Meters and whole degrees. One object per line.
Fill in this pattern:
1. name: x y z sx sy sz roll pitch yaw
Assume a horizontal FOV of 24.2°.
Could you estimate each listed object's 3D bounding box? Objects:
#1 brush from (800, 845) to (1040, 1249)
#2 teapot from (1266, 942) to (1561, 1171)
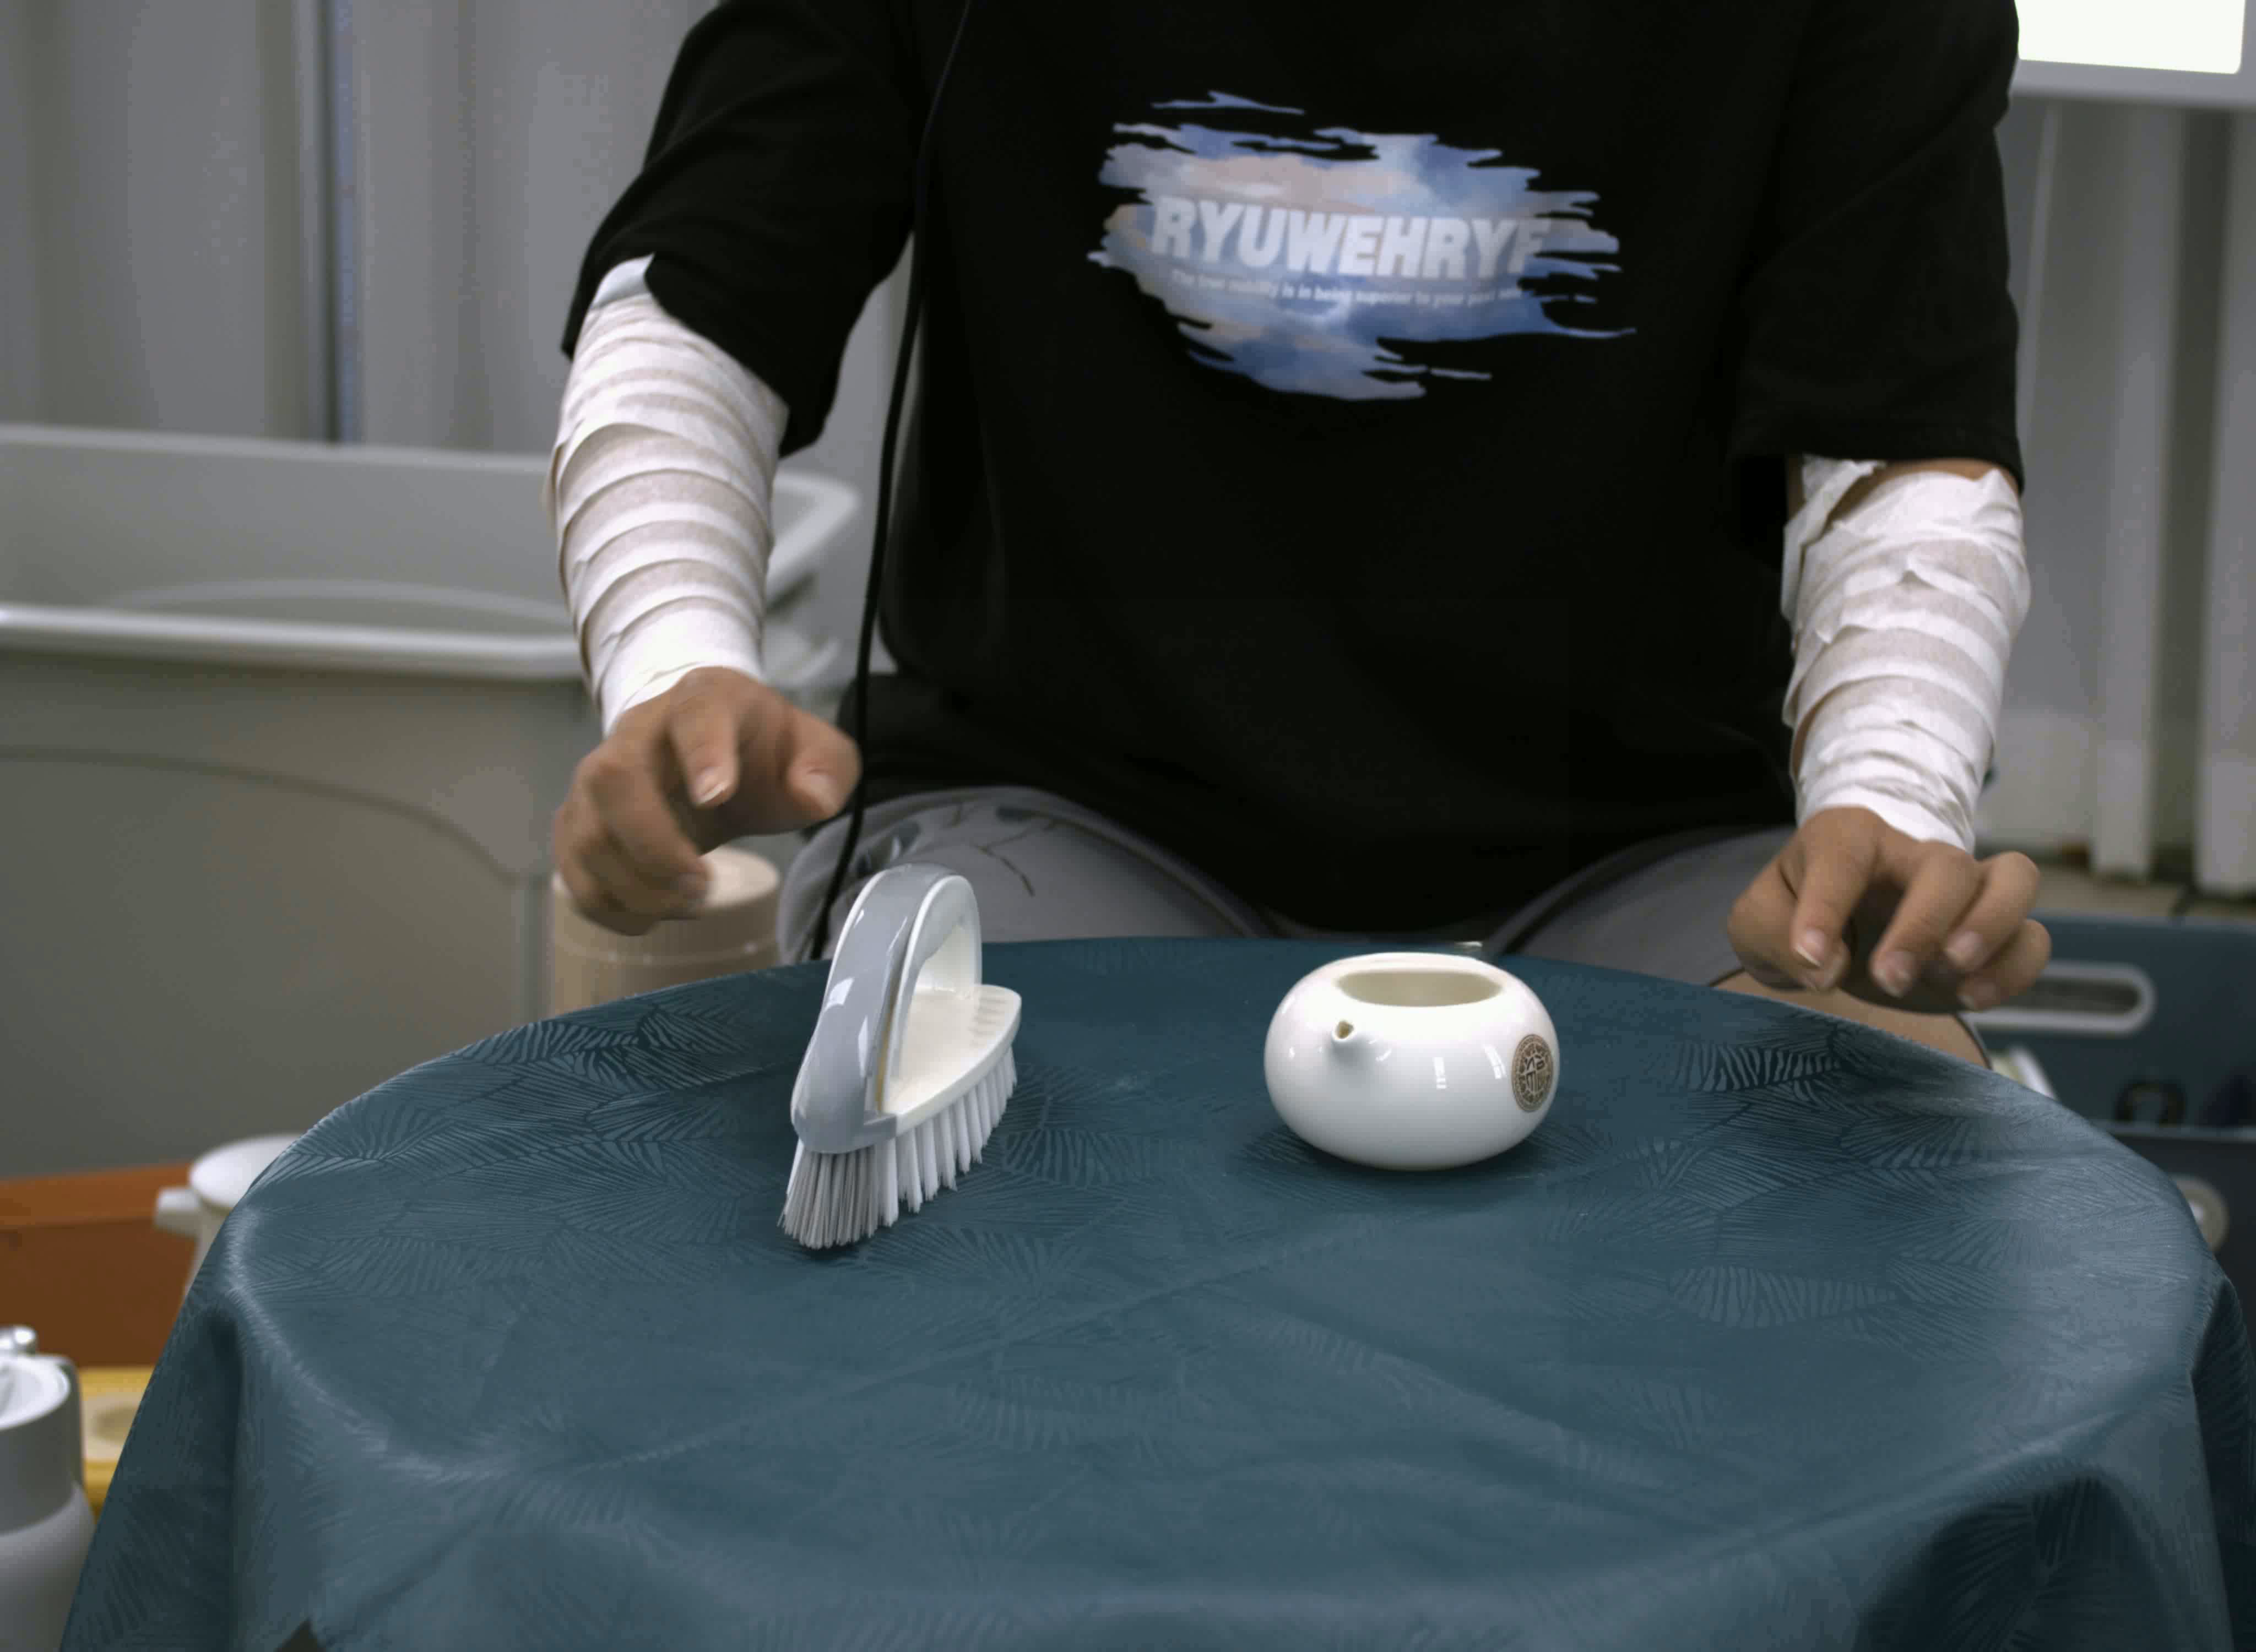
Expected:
1. brush: -0.071 0.062 1.629 0.061 0.095 0.175 2 17 12
2. teapot: 0.095 0.072 1.672 0.092 0.057 0.127 3 14 24
